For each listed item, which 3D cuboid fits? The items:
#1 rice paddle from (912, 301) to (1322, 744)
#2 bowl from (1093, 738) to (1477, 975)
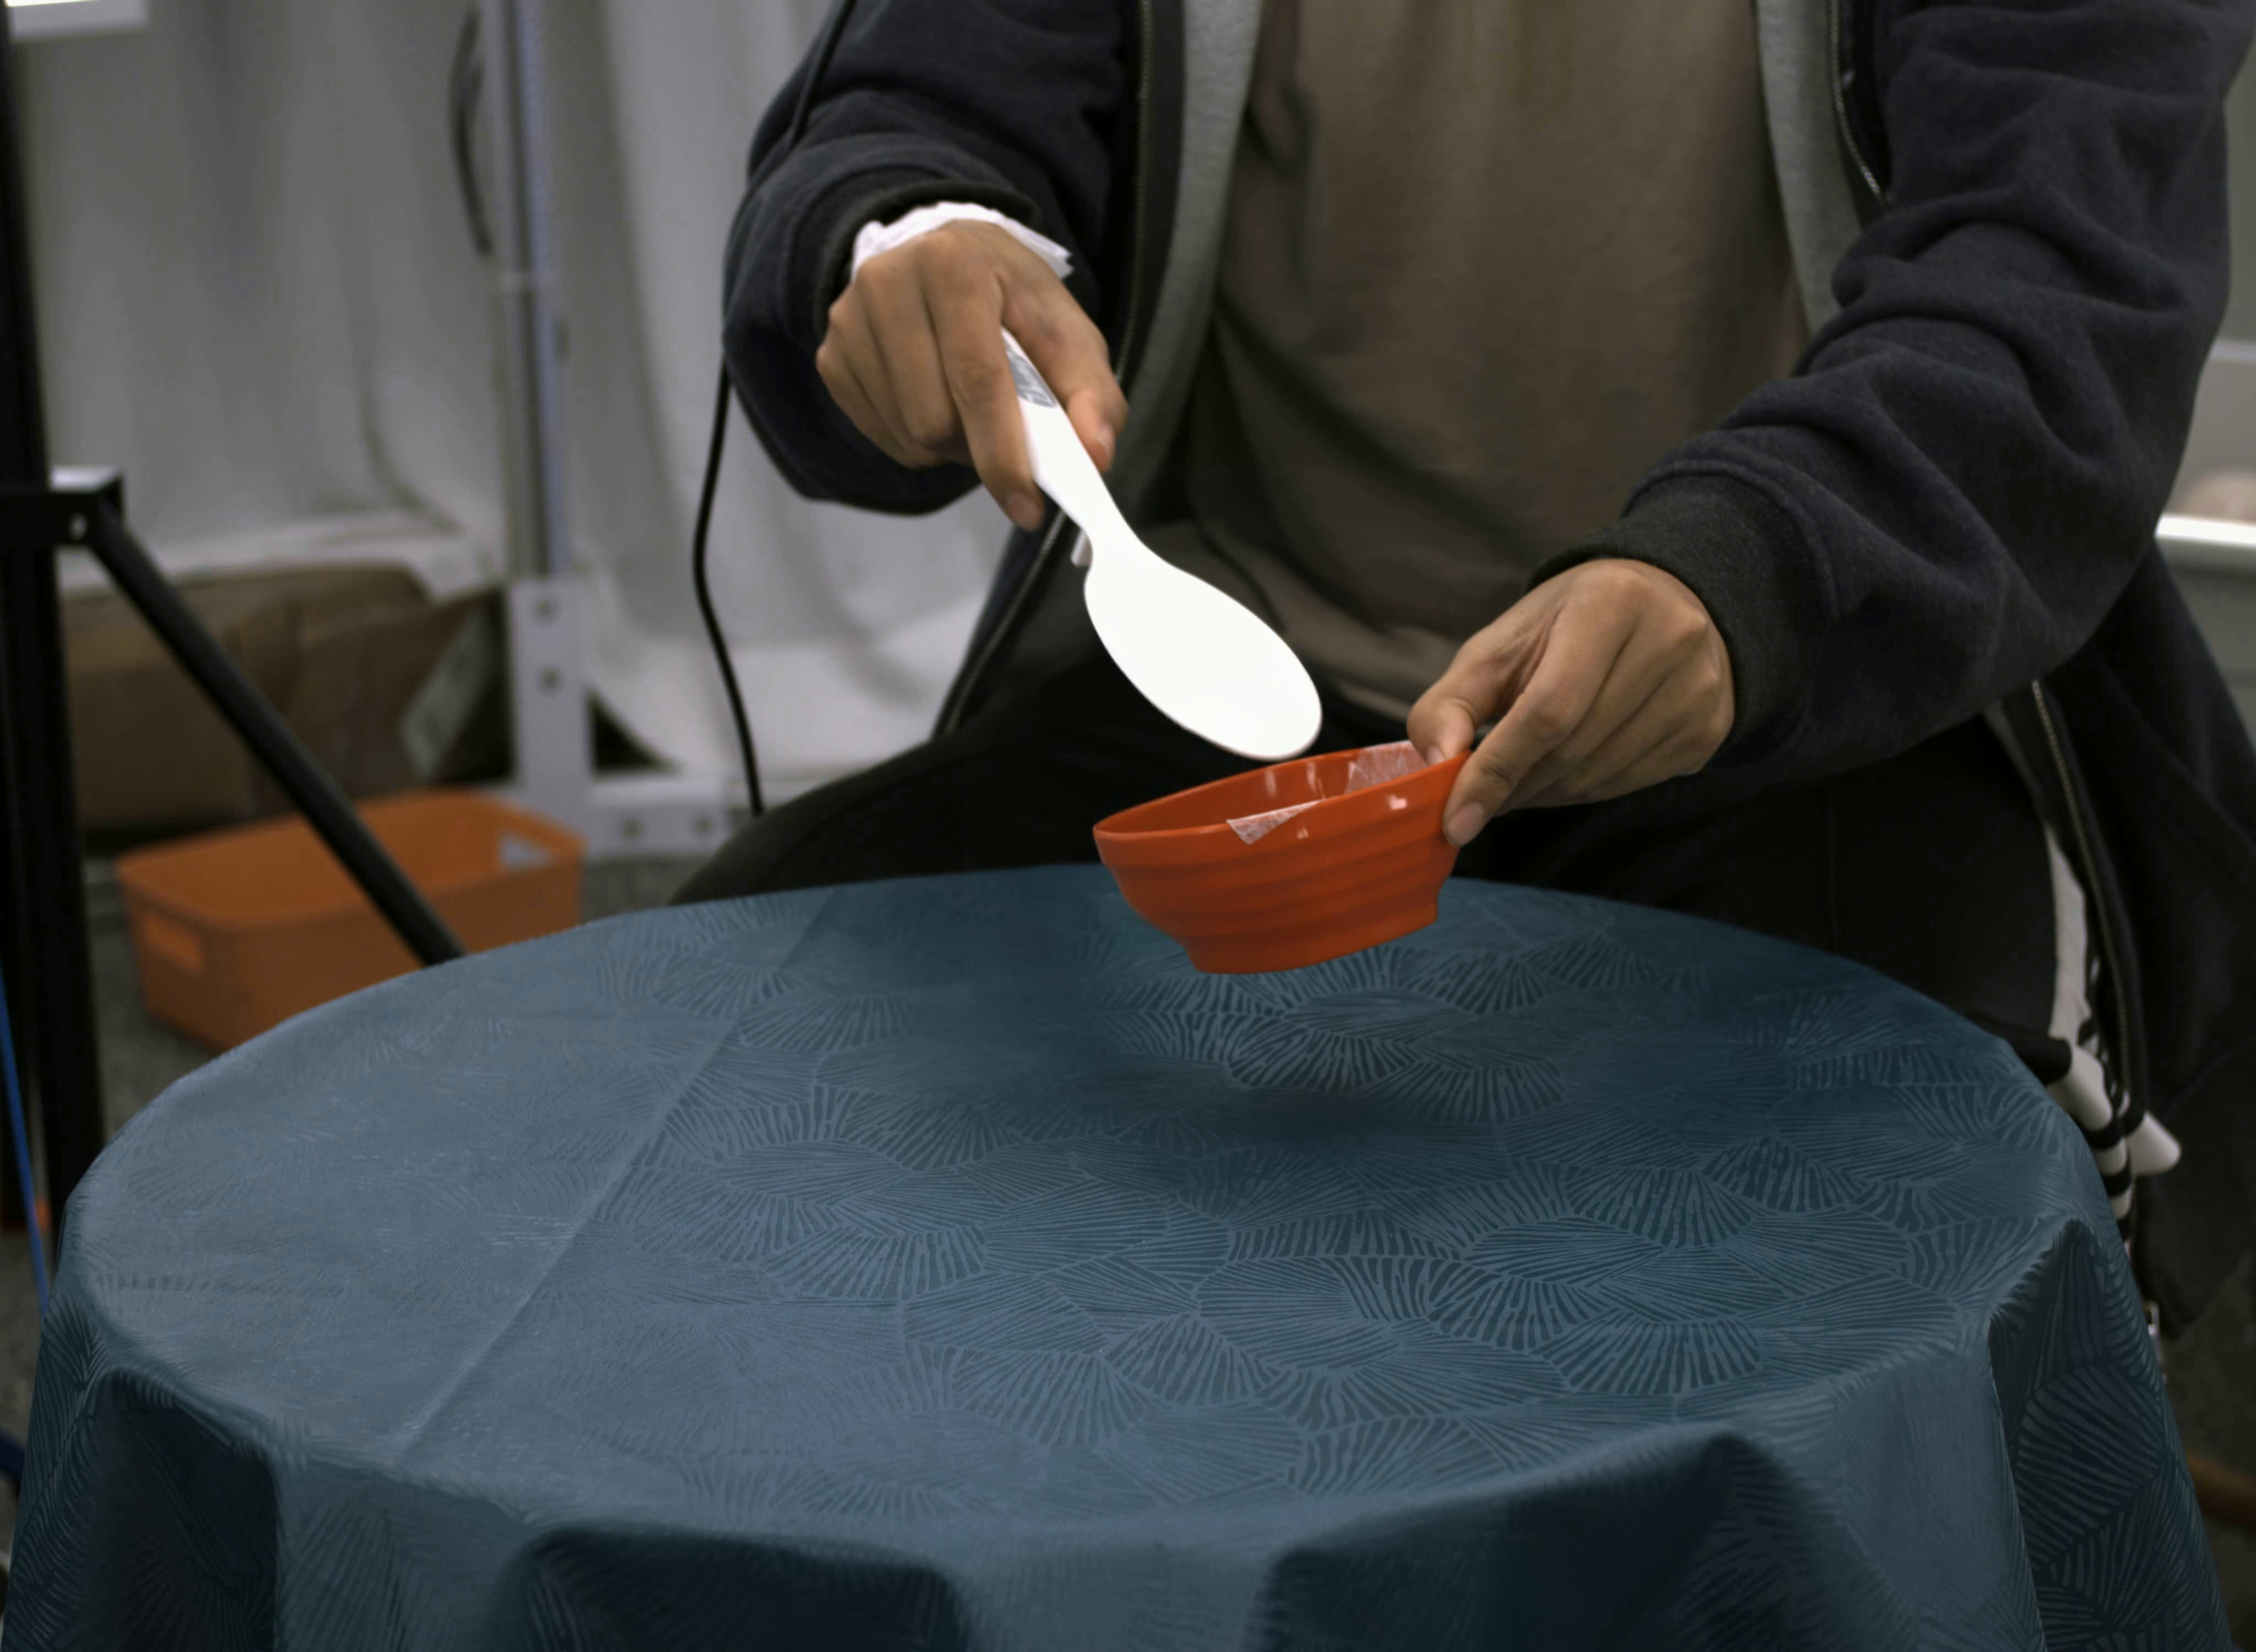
[{"bbox_3d":[-0.005,-0.092,1.650,0.067,0.029,0.209,-5,41,-35],"label":"rice paddle"},{"bbox_3d":[0.052,0.012,1.608,0.118,0.051,0.119,-14,8,0],"label":"bowl"}]
